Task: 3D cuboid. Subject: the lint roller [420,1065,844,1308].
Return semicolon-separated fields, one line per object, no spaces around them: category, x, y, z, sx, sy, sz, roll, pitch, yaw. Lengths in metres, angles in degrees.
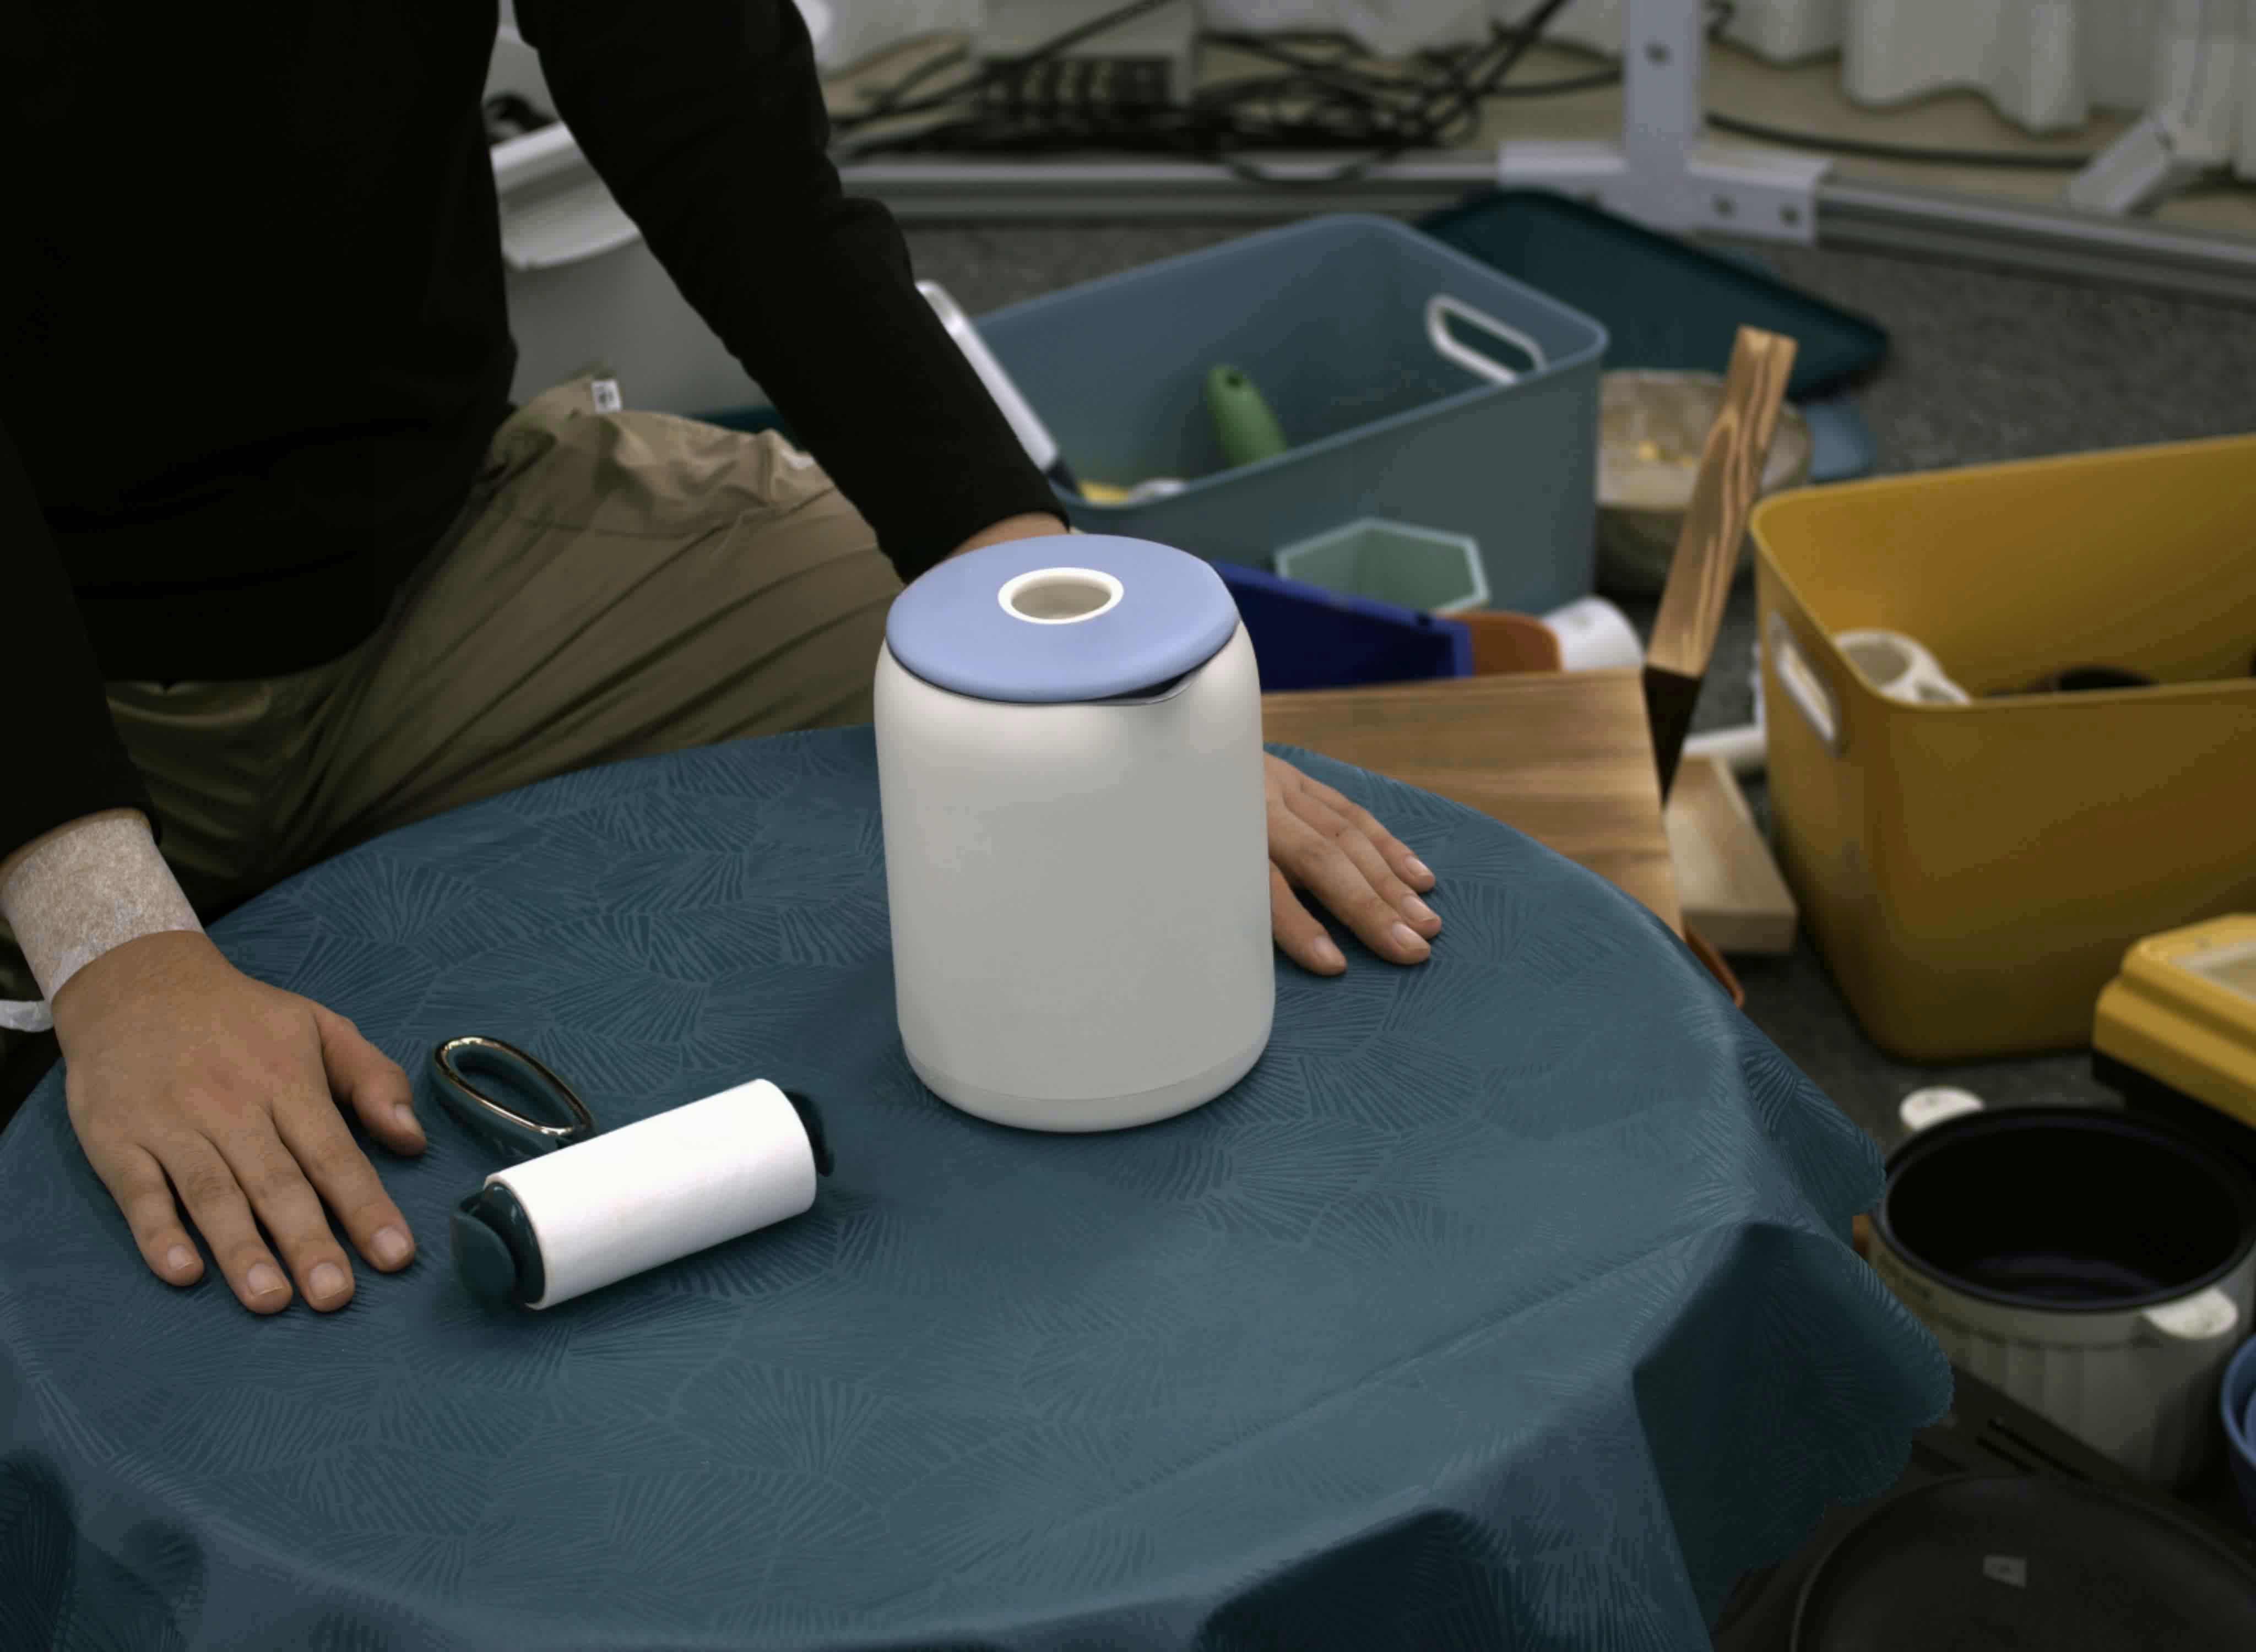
lint roller;-0.192;0.098;1.882;0.135;0.048;0.180;-18;29;-28

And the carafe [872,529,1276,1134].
carafe;-0.031;-0.007;1.929;0.133;0.181;0.191;-17;28;-28
